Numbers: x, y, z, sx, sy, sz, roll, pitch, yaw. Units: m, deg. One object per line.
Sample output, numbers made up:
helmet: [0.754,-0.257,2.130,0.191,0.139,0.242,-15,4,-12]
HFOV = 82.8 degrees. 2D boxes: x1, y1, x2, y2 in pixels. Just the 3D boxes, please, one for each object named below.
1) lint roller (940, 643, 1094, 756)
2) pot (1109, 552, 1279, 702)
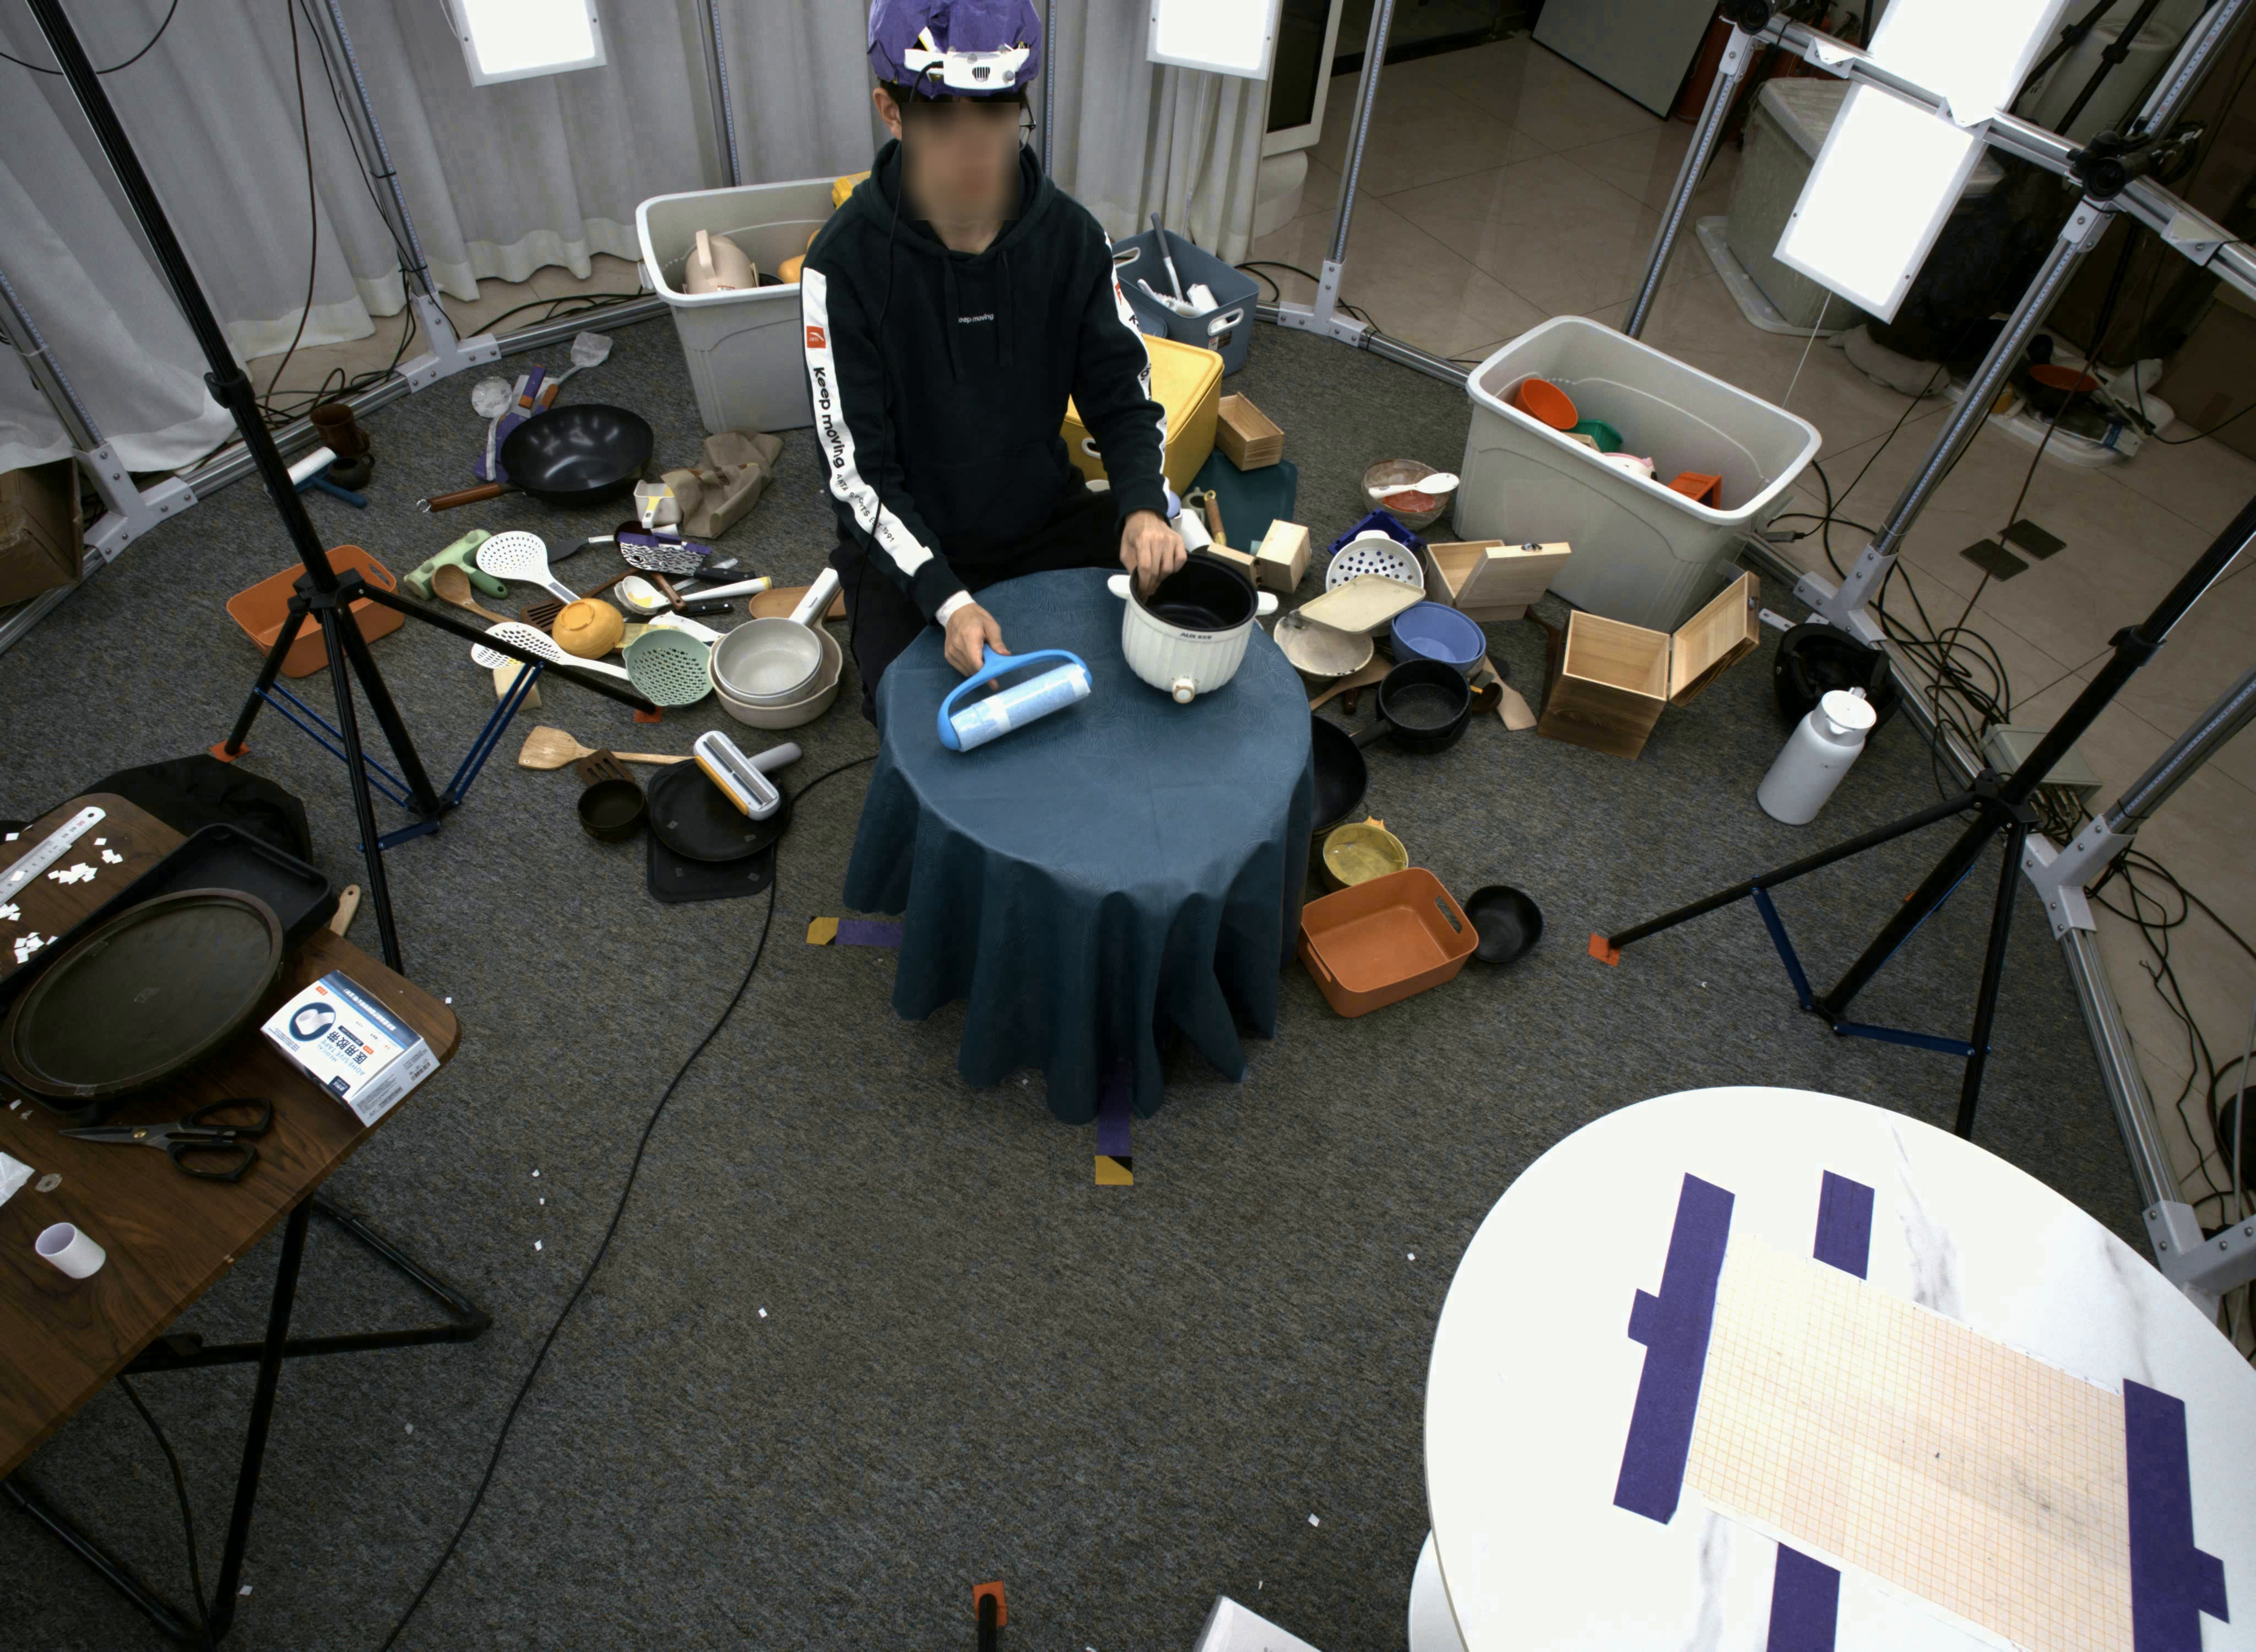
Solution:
lint roller: [-0.180,-0.204,1.775,0.230,0.066,0.183,-30,62,-17]
pot: [0.085,-0.277,1.815,0.240,0.139,0.195,4,41,-5]
